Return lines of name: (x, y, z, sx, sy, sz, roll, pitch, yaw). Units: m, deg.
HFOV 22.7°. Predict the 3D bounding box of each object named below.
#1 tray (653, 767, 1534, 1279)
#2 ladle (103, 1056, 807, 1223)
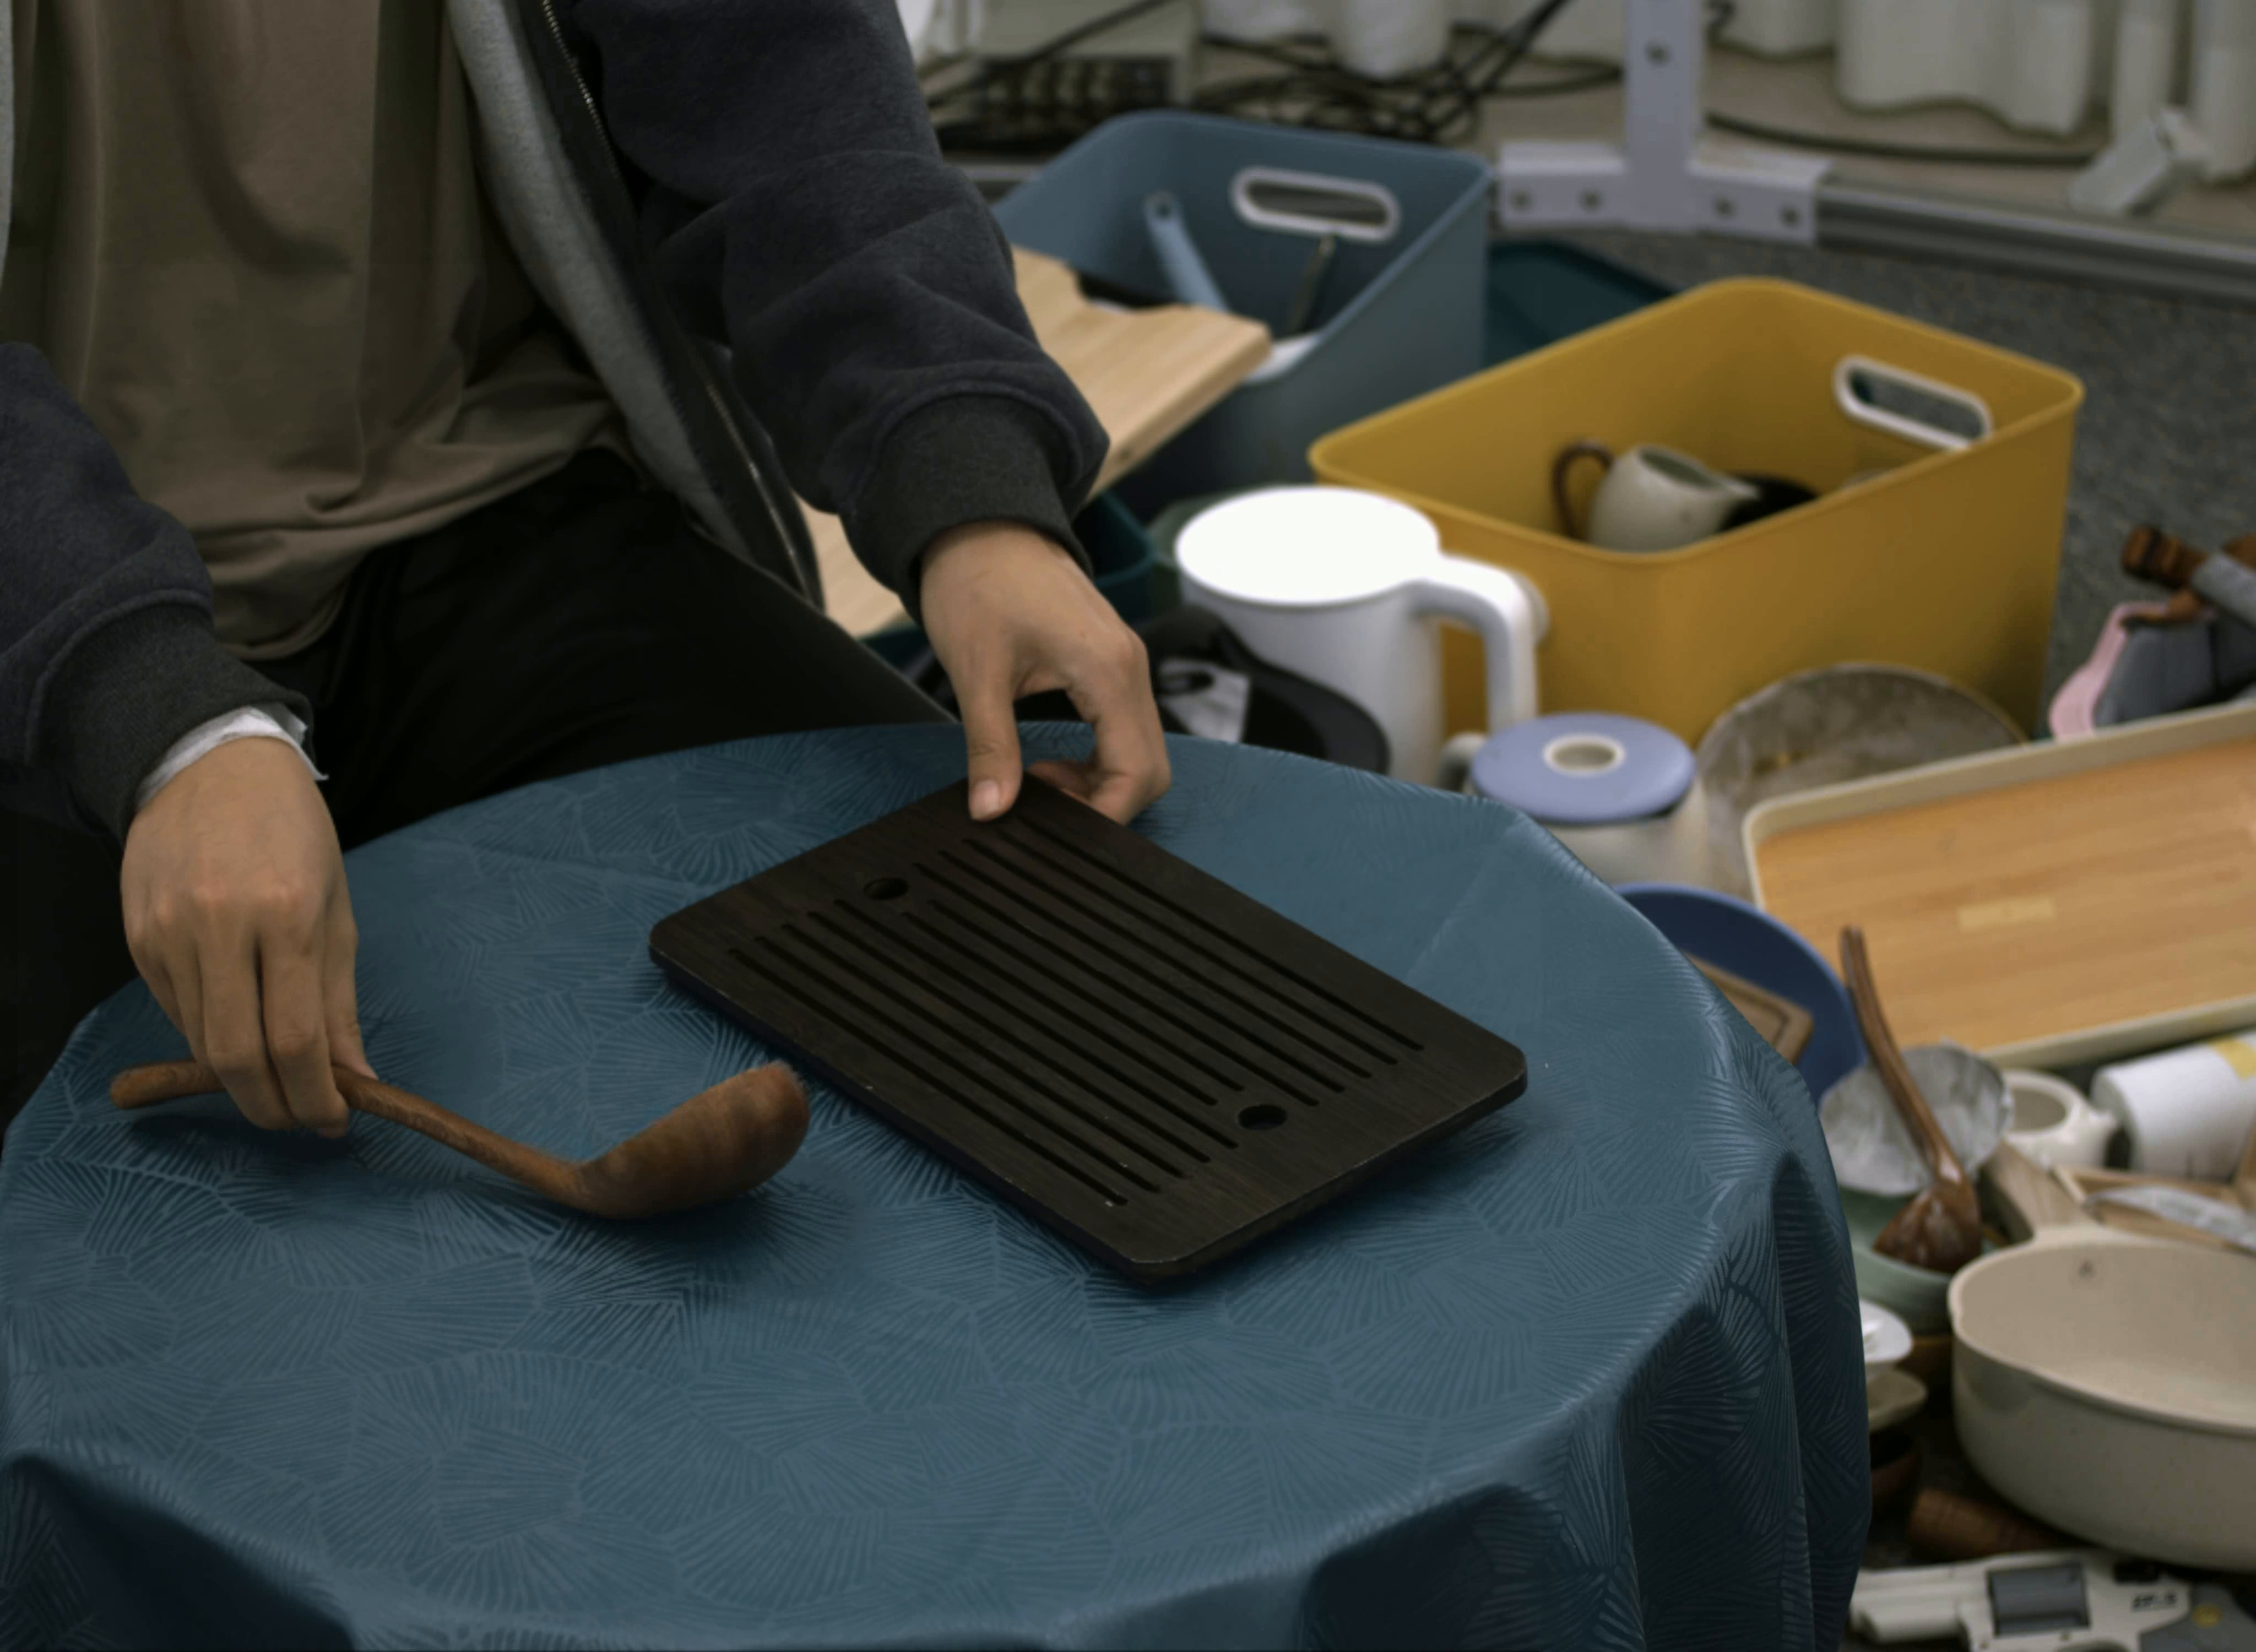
tray: (-0.016, 0.064, 1.946, 0.172, 0.018, 0.306, -24, 34, -30)
ladle: (-0.228, 0.088, 1.880, 0.258, 0.065, 0.076, 10, 1, 23)
